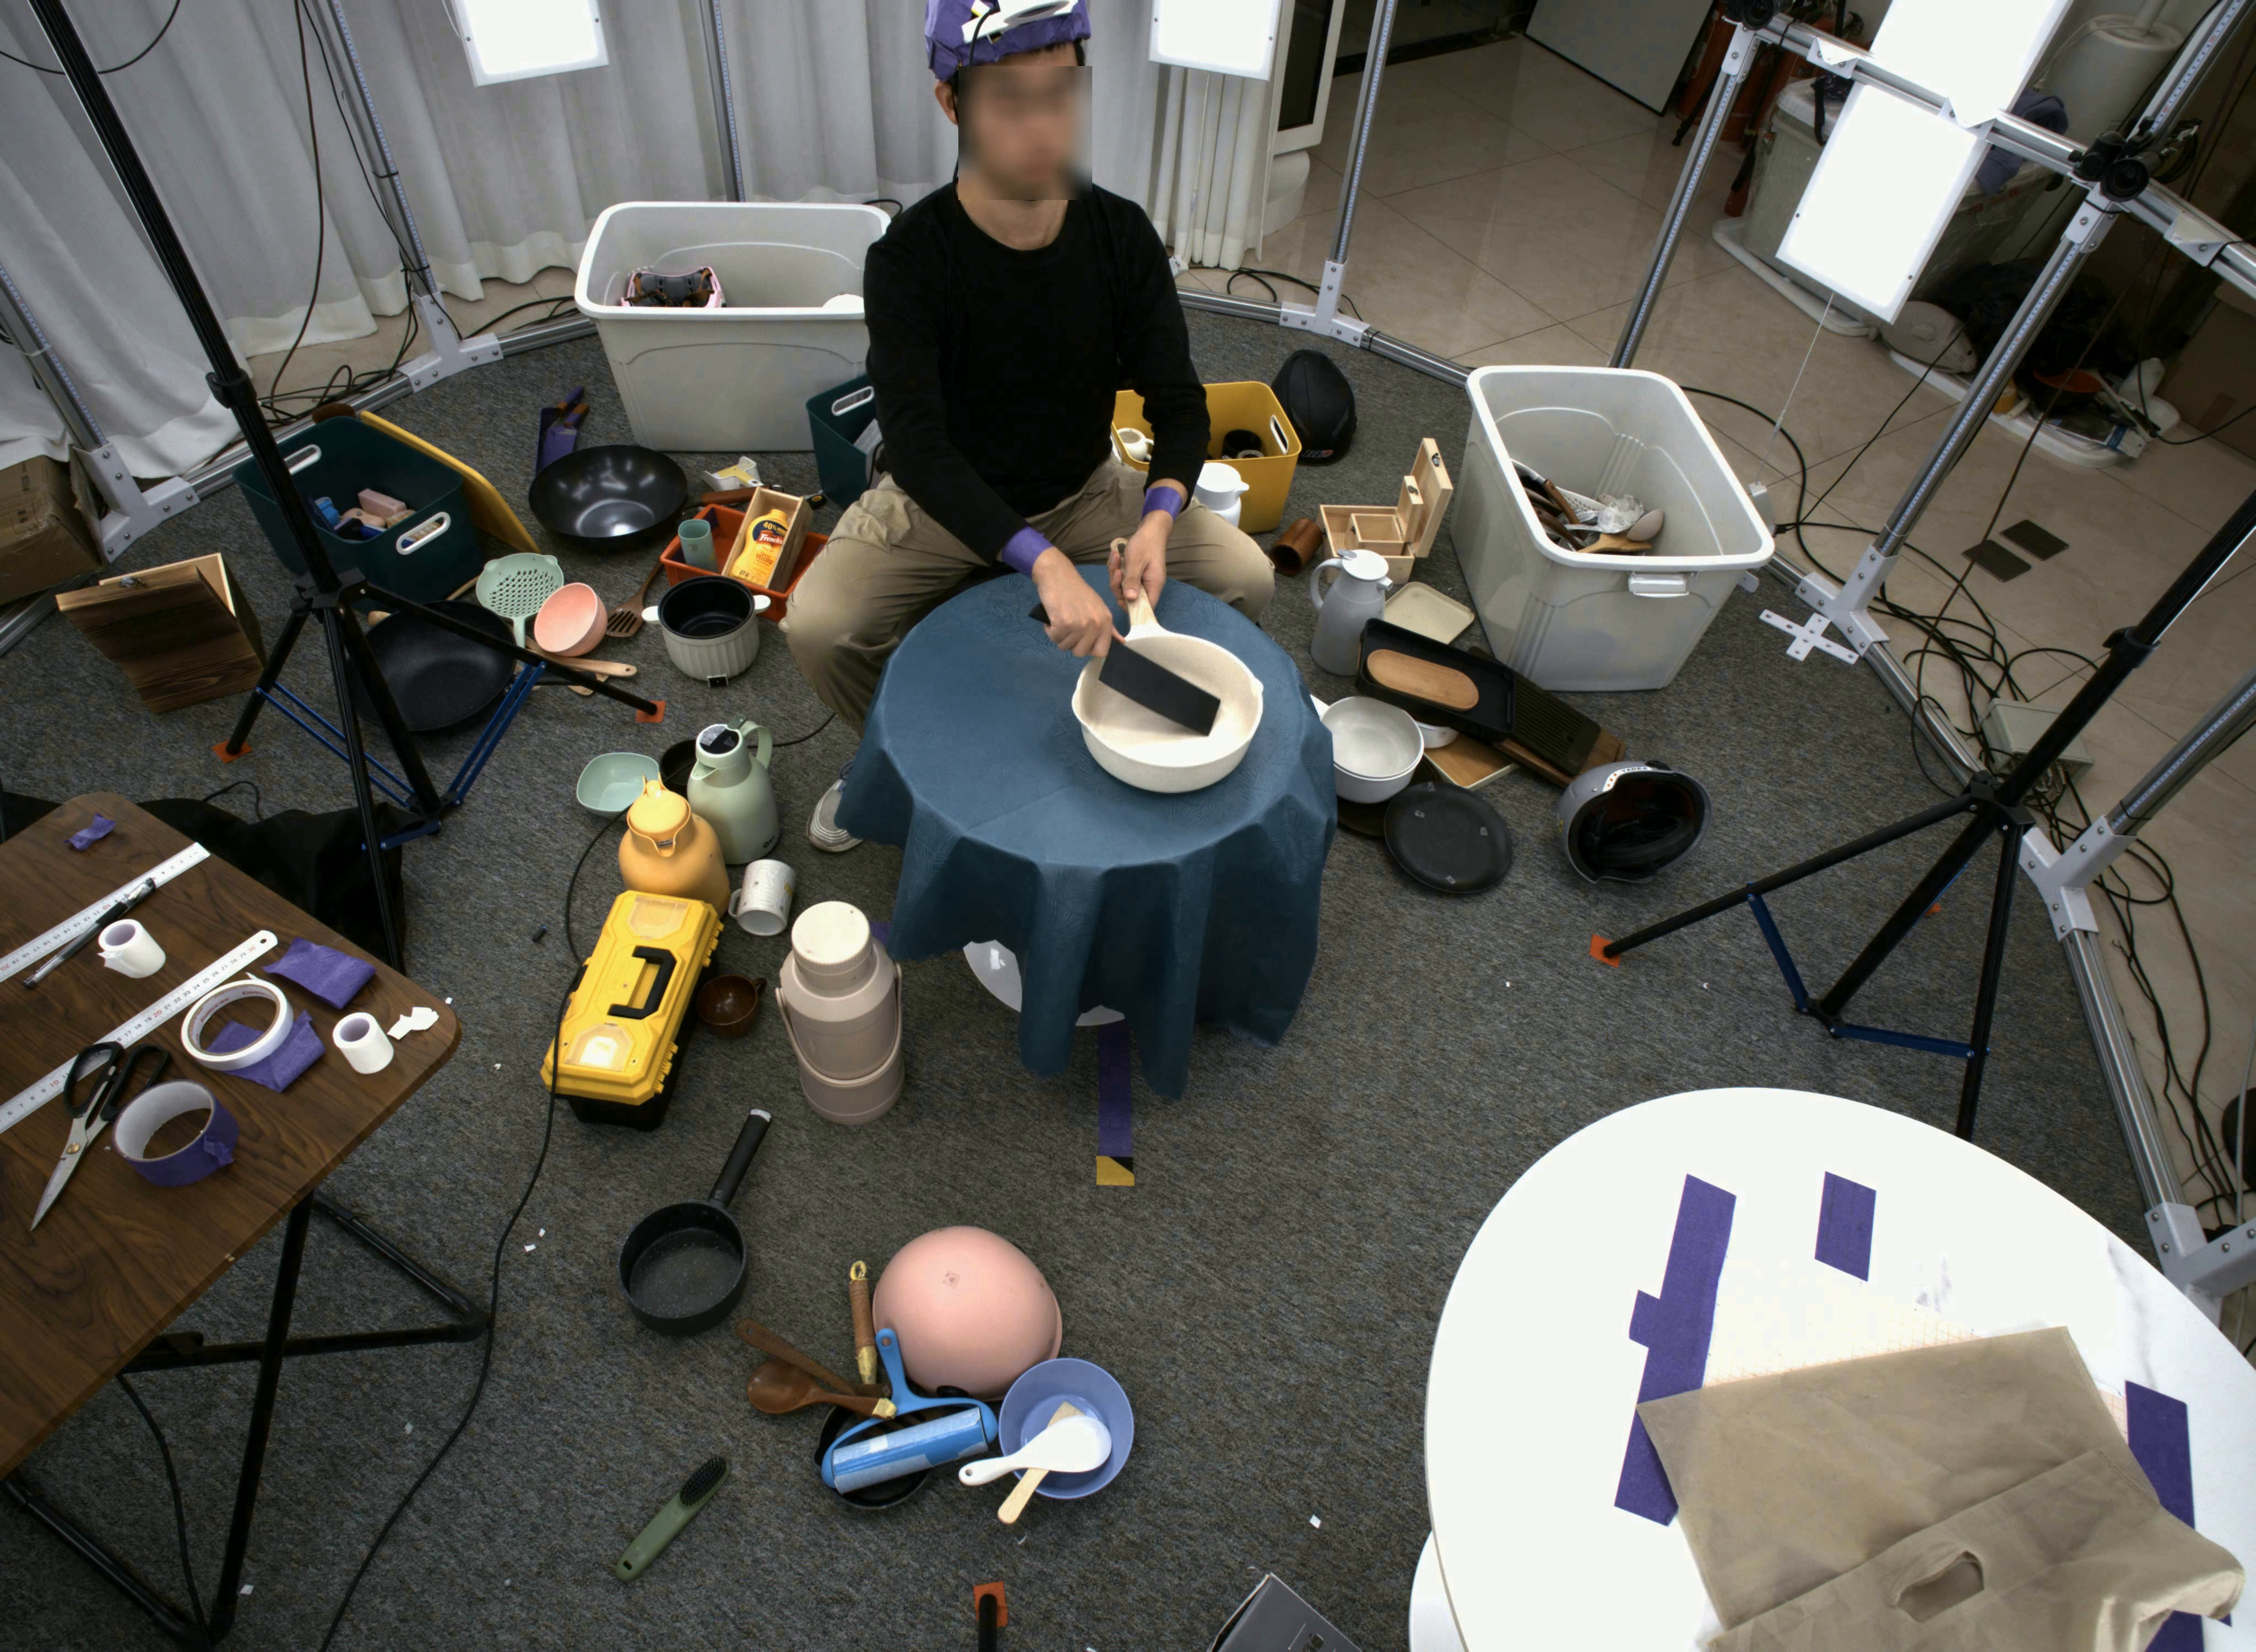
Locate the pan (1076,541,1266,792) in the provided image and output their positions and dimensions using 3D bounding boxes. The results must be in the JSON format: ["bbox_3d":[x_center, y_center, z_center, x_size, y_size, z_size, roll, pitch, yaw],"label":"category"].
[{"bbox_3d":[0.036,-0.225,1.802,0.263,0.099,0.446,-10,51,-10],"label":"pan"}]

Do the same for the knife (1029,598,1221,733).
[{"bbox_3d":[-0.003,-0.219,1.745,0.299,0.021,0.082,31,67,-16],"label":"knife"}]
